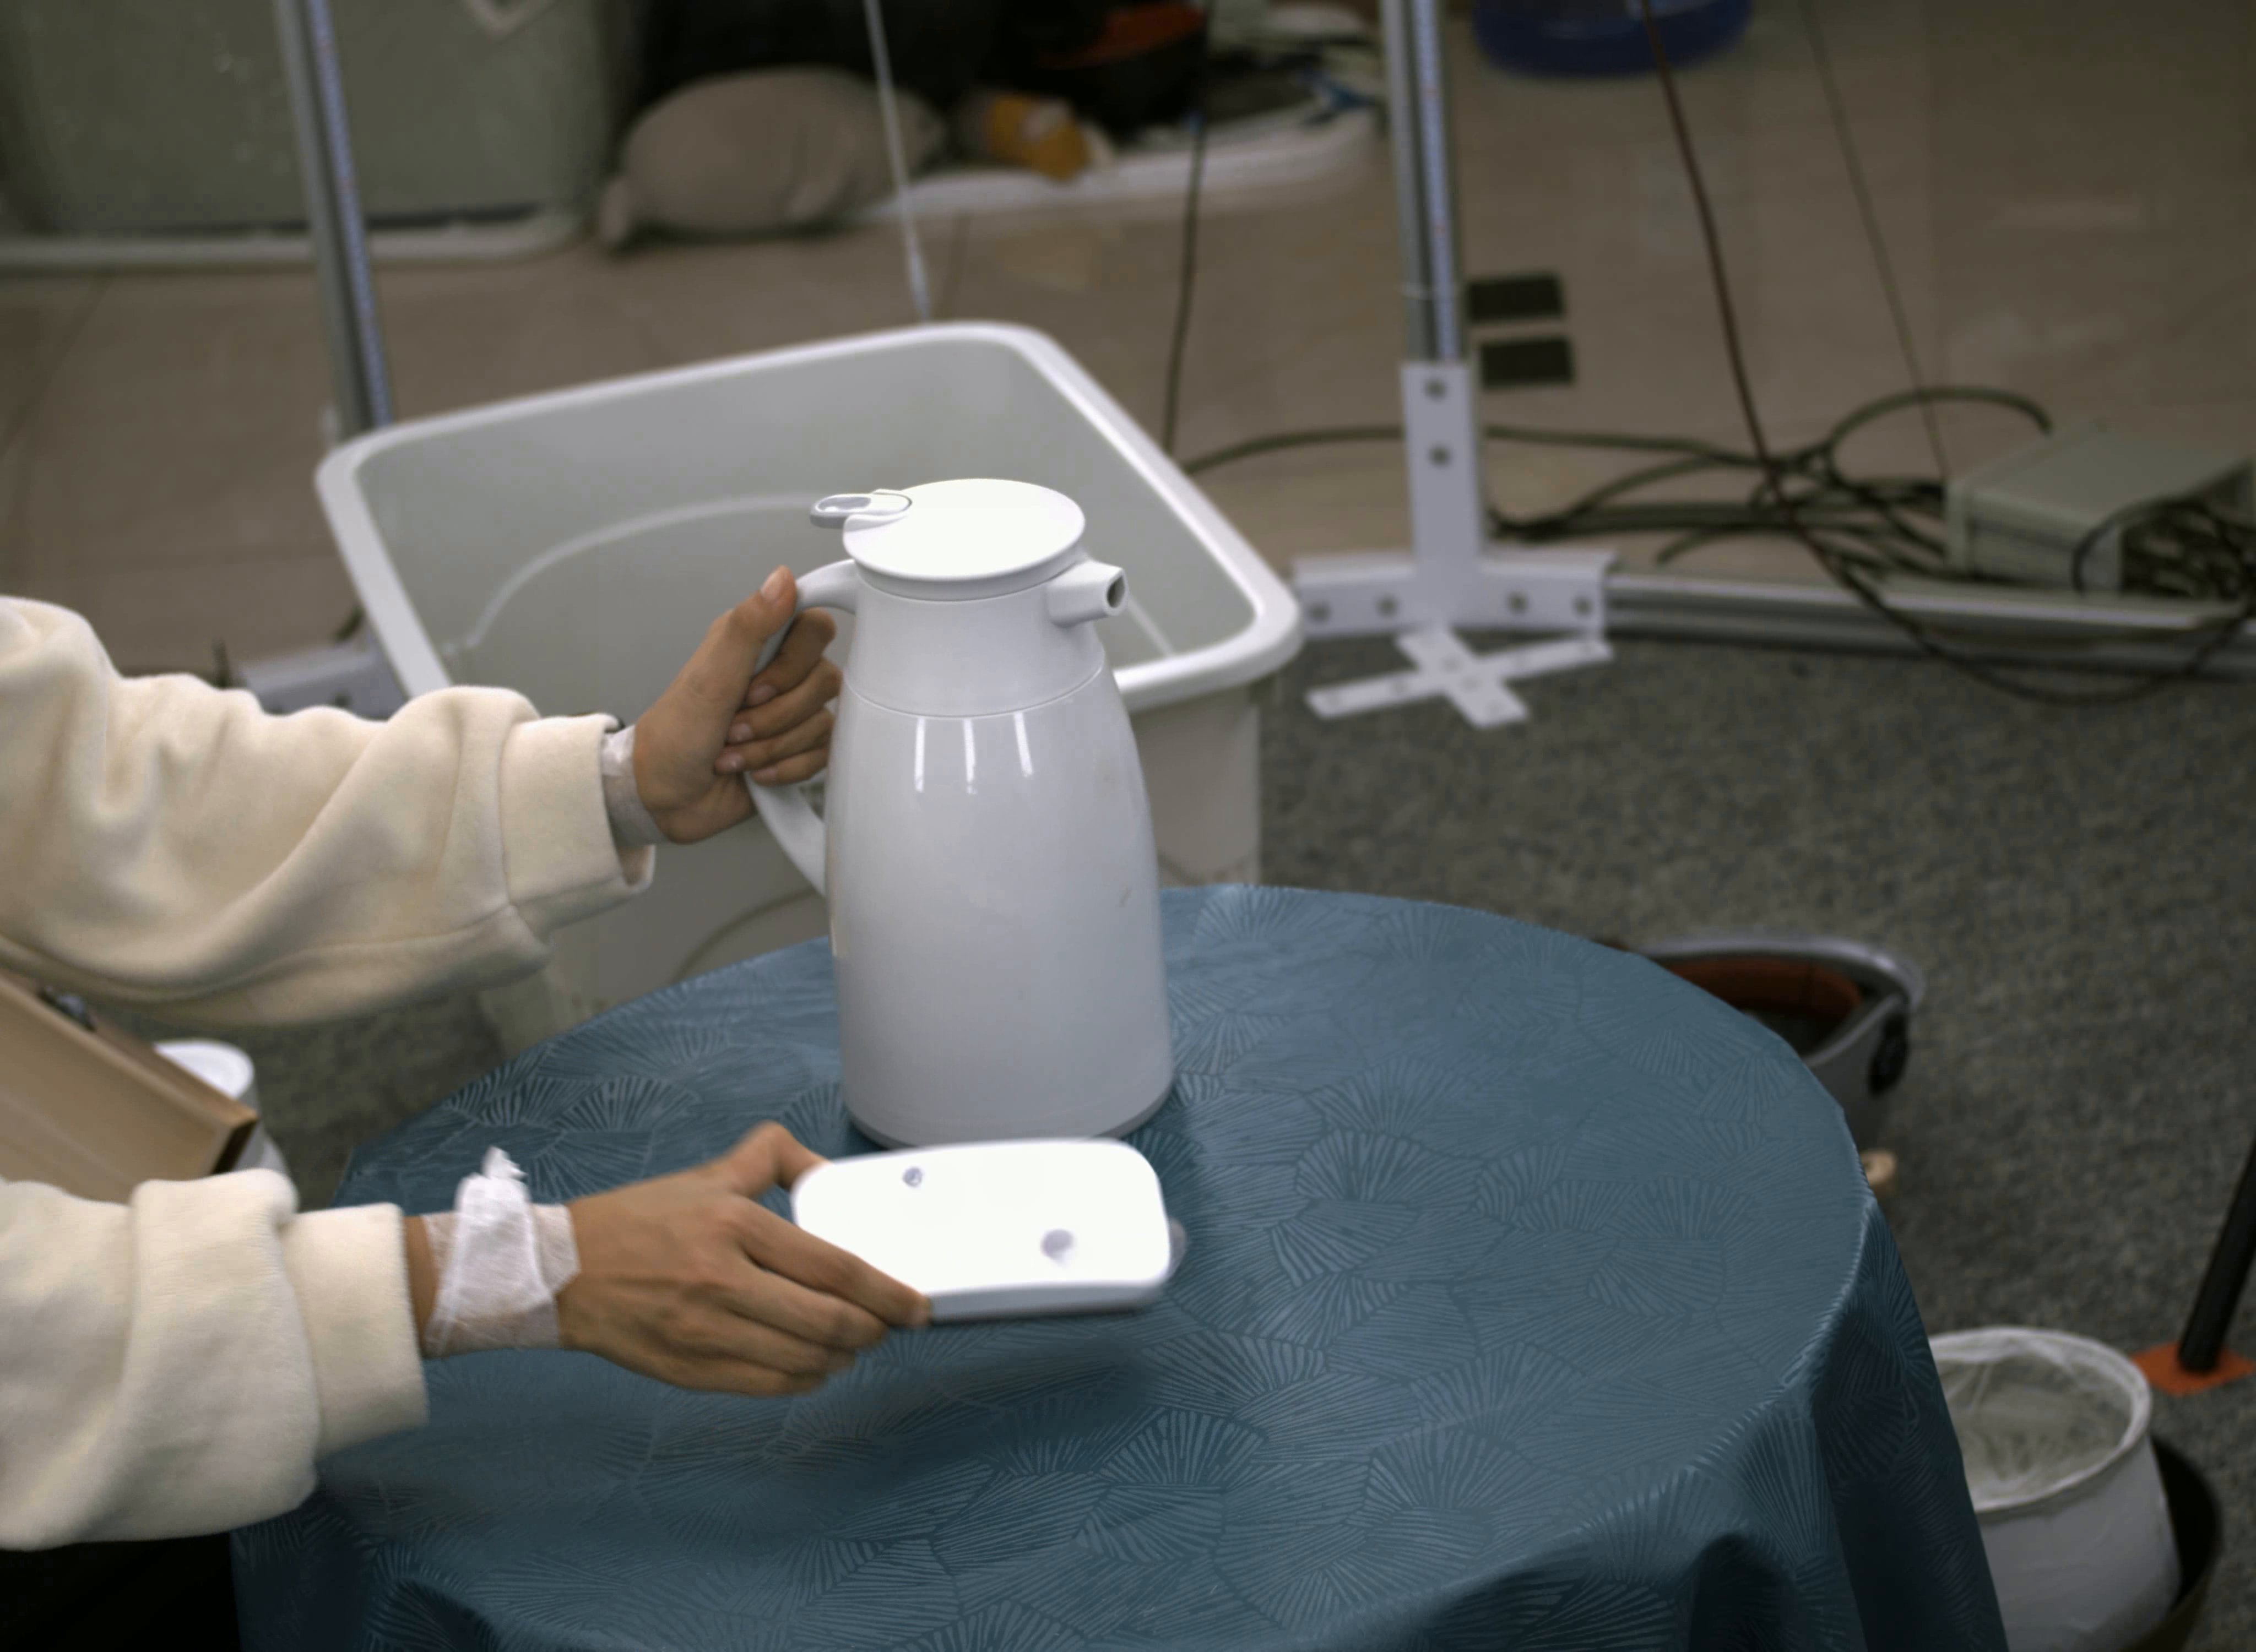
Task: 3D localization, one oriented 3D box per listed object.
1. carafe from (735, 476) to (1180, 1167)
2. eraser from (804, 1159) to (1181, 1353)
[{"bbox_3d":[-0.071,-0.010,2.178,0.167,0.253,0.131,7,29,22],"label":"carafe"},{"bbox_3d":[-0.048,0.152,2.004,0.131,0.035,0.062,-1,49,-10],"label":"eraser"}]
